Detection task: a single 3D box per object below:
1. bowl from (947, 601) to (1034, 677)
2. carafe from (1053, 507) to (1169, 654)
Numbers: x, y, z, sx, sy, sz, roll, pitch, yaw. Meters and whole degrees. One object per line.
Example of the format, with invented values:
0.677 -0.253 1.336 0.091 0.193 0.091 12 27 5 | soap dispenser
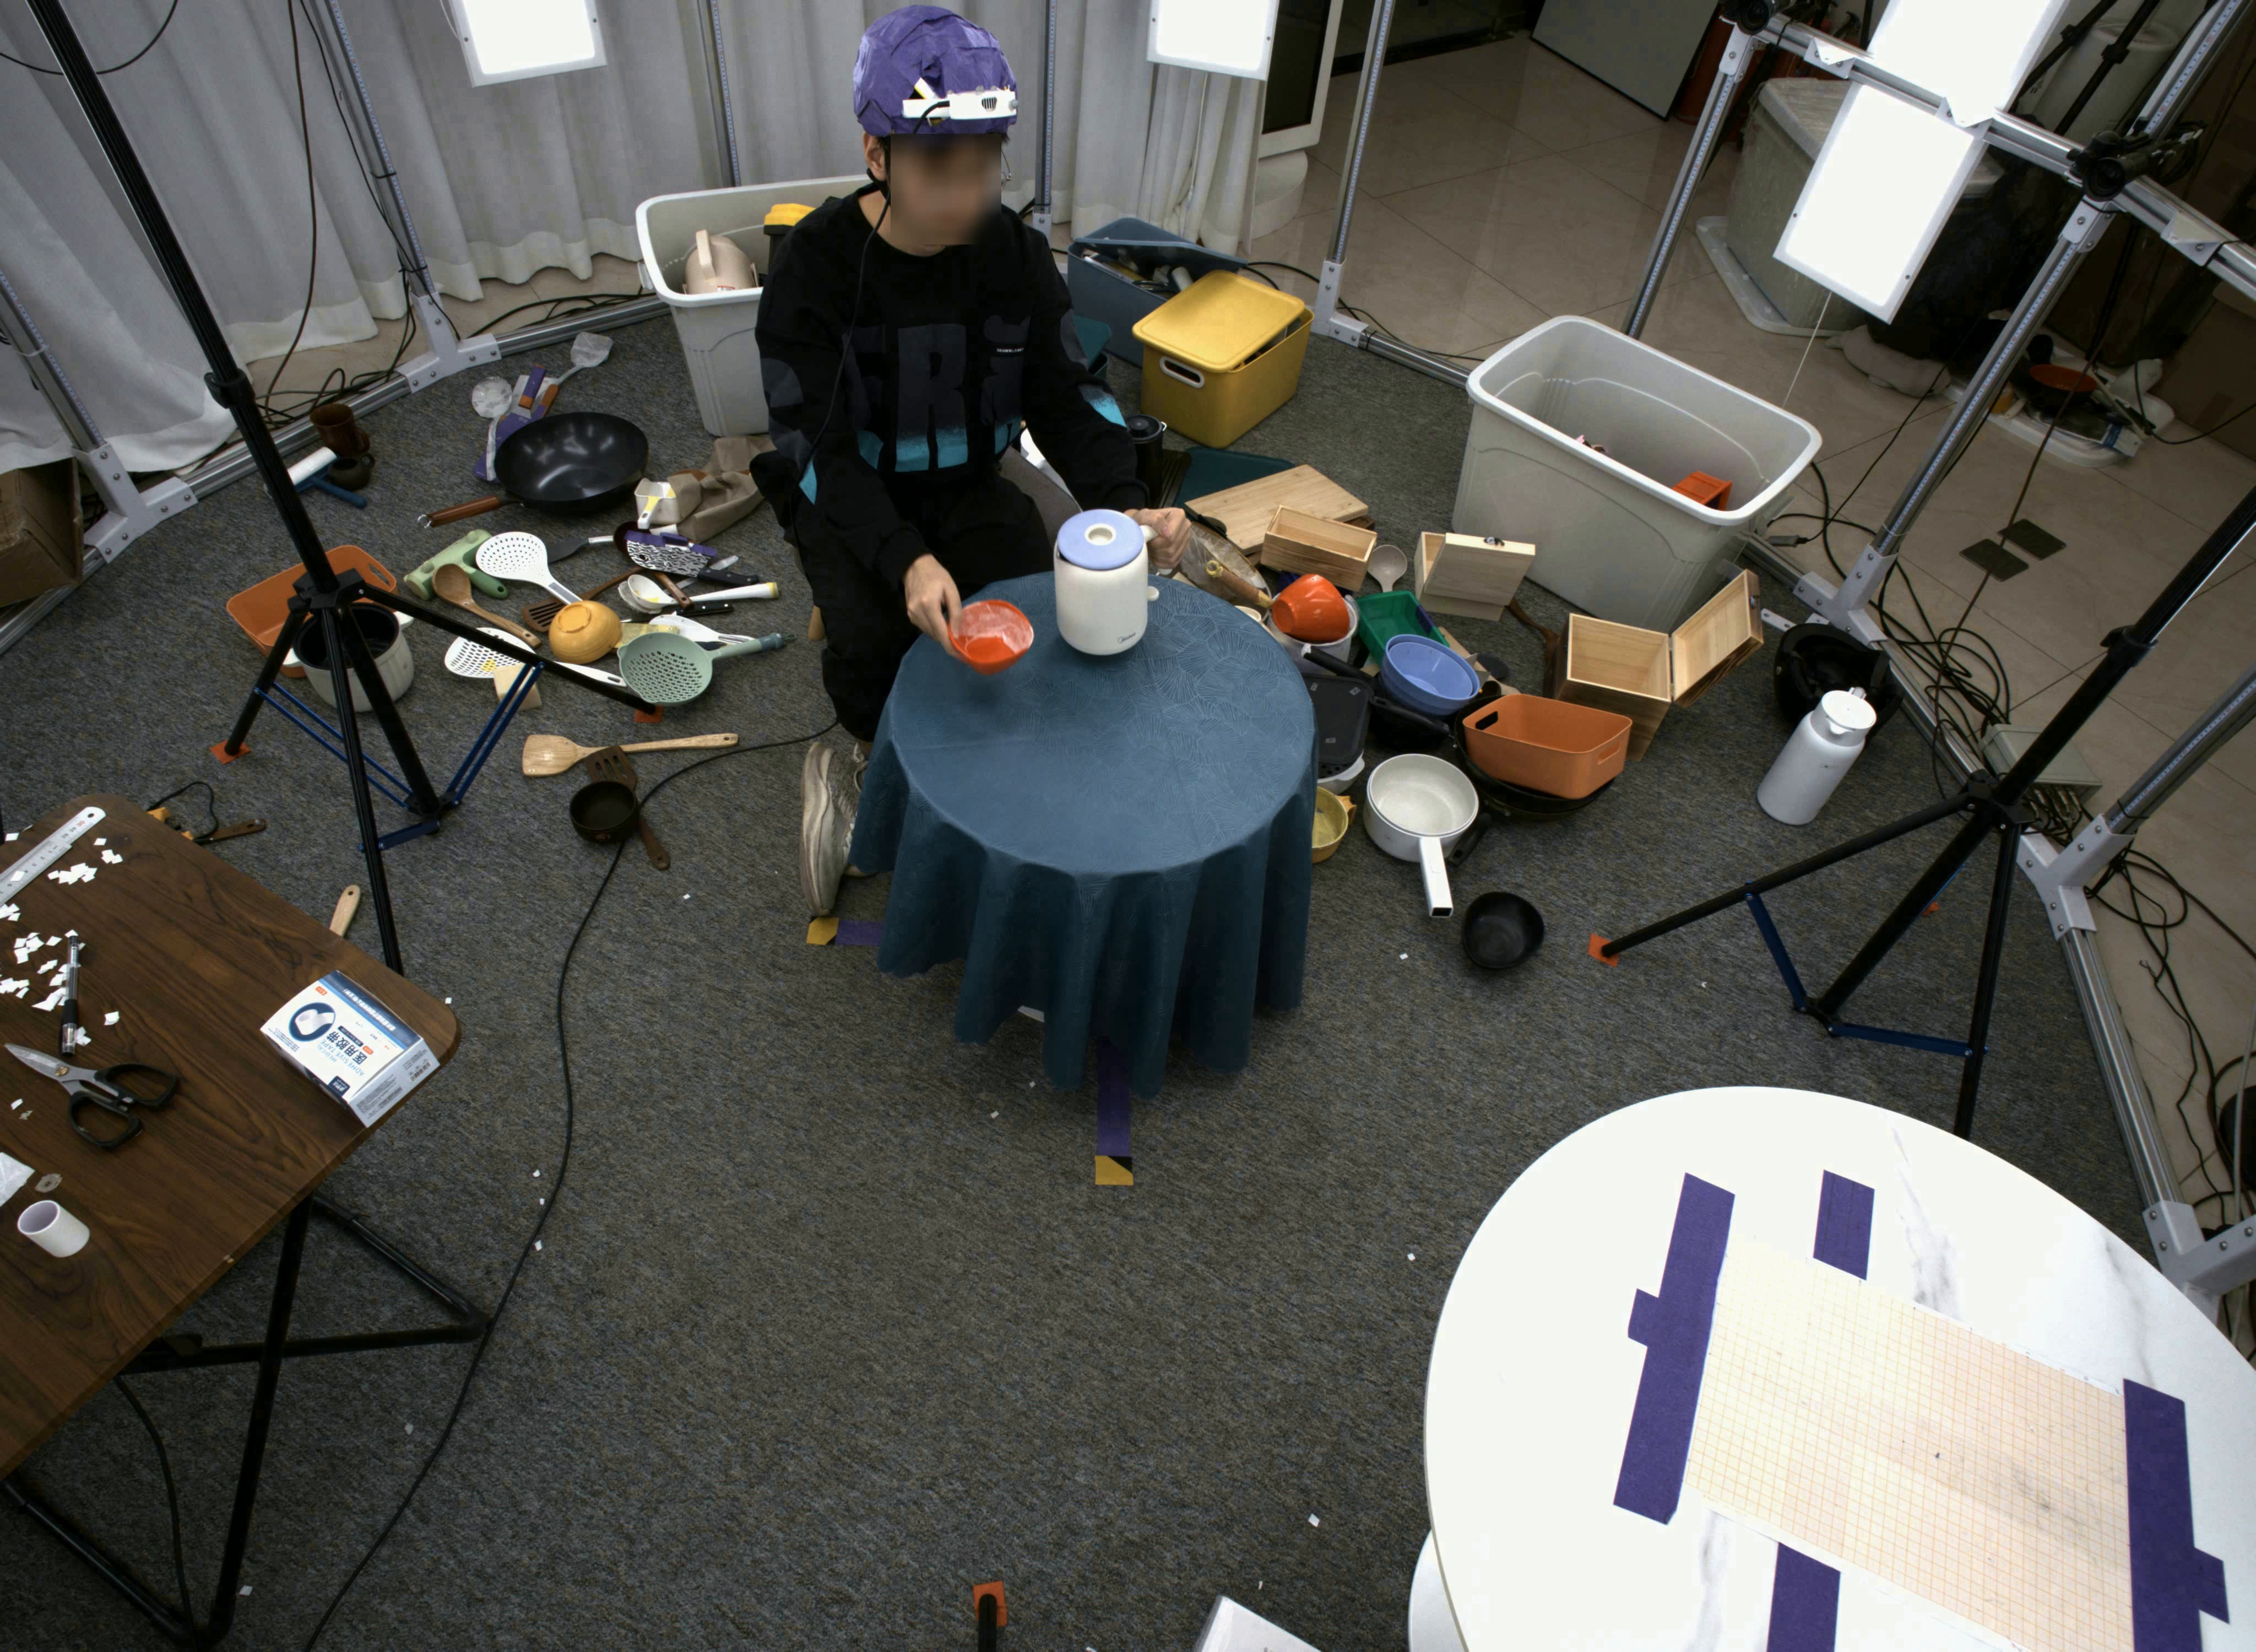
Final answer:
-0.189 -0.250 1.773 0.119 0.050 0.122 2 56 -3 | bowl
-0.019 -0.356 1.824 0.192 0.178 0.135 -28 59 -22 | carafe
